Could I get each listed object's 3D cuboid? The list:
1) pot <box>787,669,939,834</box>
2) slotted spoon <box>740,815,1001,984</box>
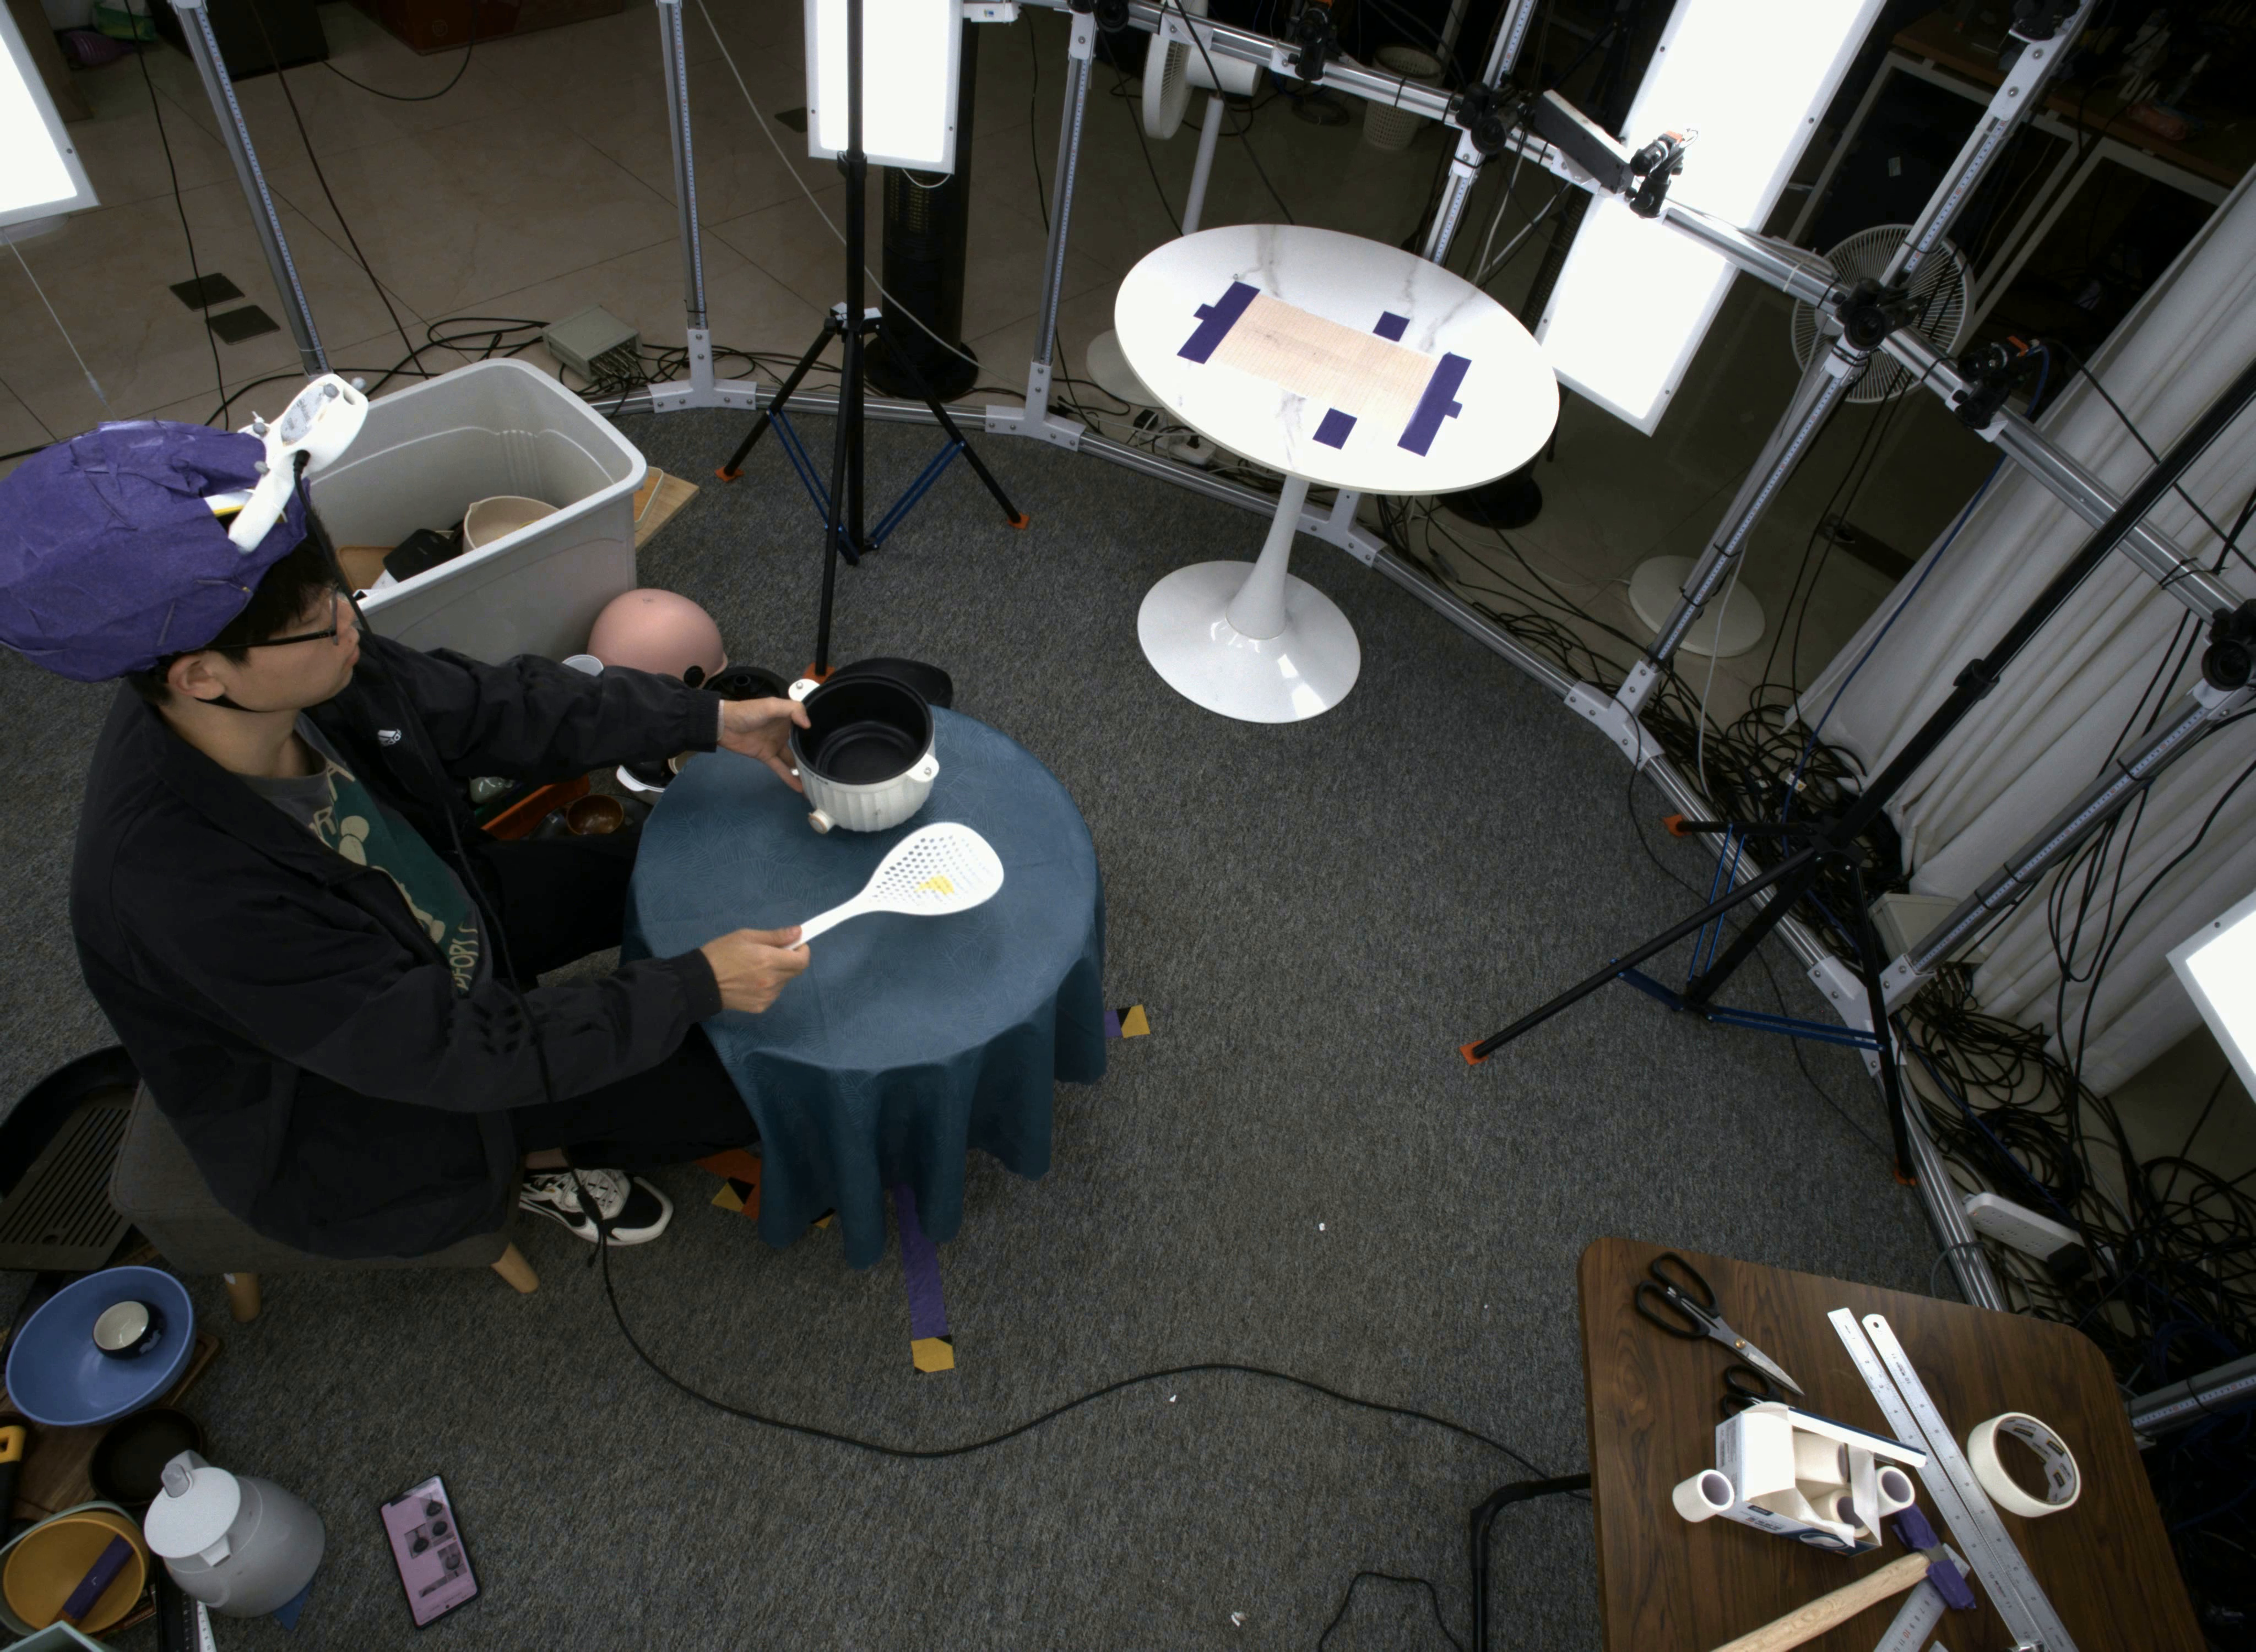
[{"bbox_3d":[-0.345,-0.087,1.693,0.235,0.146,0.190,31,54,15],"label":"pot"},{"bbox_3d":[-0.312,0.092,1.563,0.350,0.051,0.133,-25,62,-34],"label":"slotted spoon"}]
